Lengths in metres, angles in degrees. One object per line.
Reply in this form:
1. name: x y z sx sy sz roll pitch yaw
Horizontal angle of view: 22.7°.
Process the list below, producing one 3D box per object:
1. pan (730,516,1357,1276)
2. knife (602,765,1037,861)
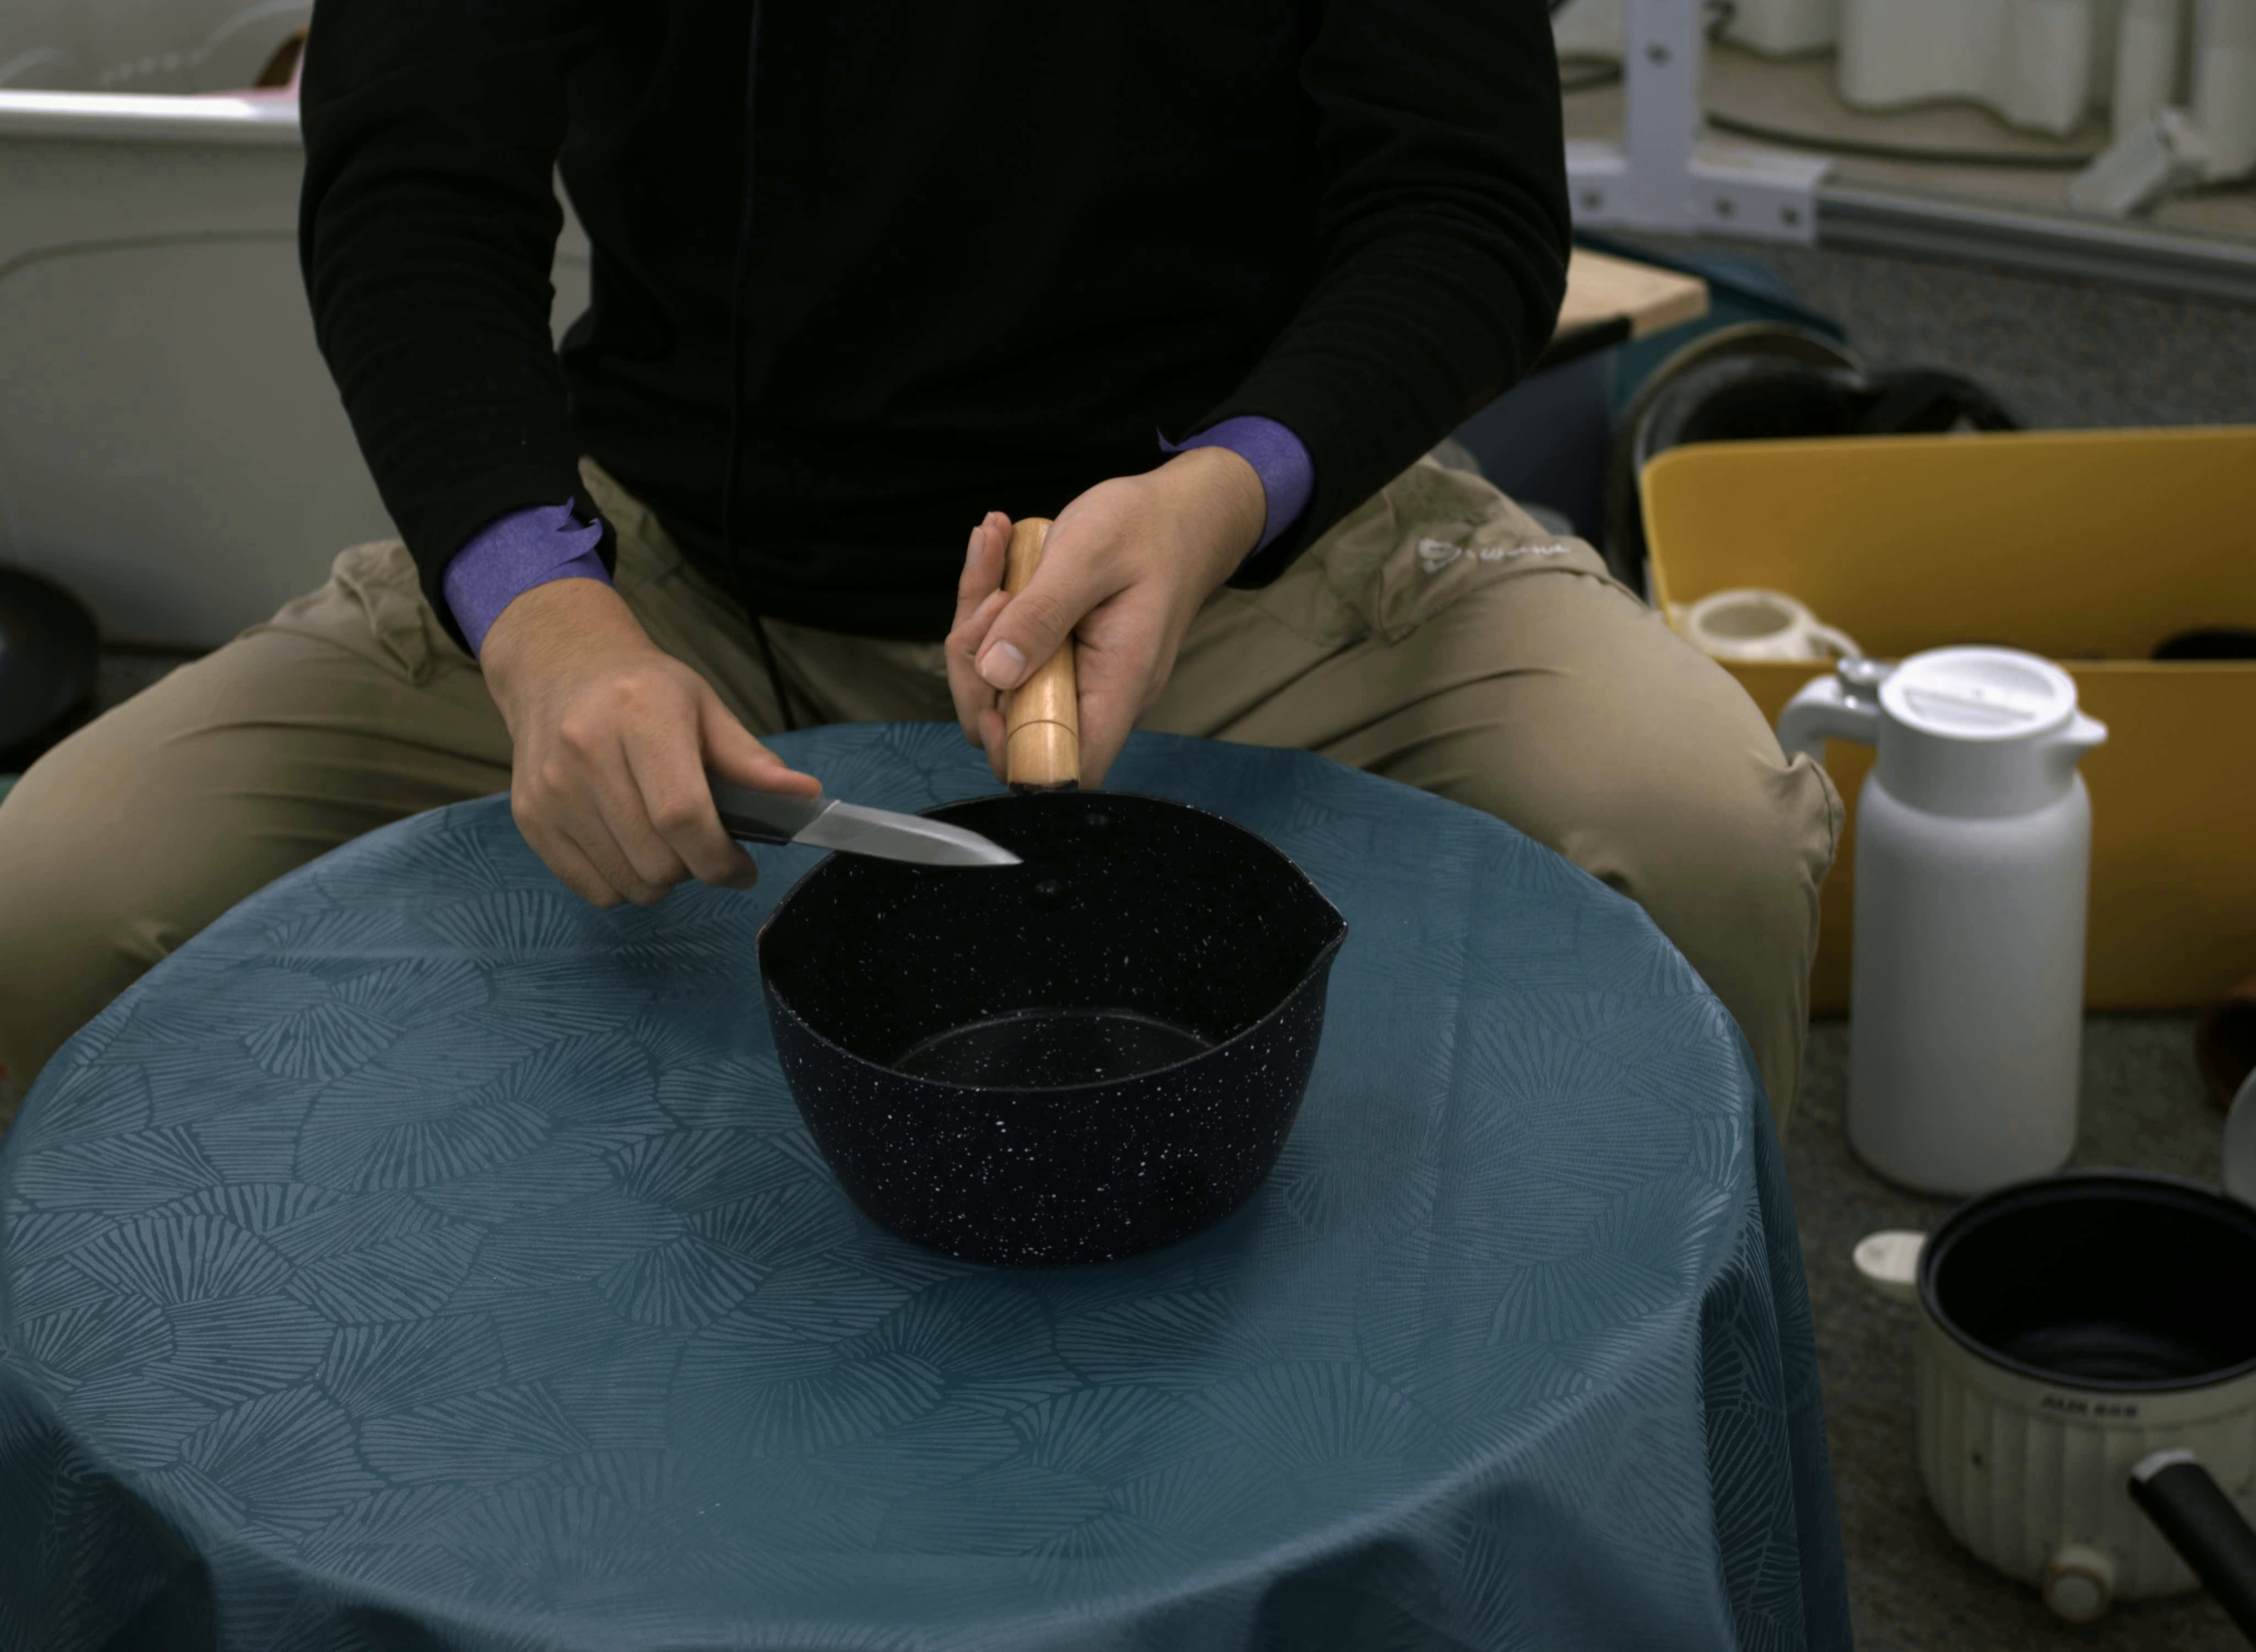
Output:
1. pan: -0.029 0.021 1.925 0.206 0.107 0.348 -3 32 -1
2. knife: -0.109 -0.001 1.917 0.236 0.016 0.025 8 44 49
